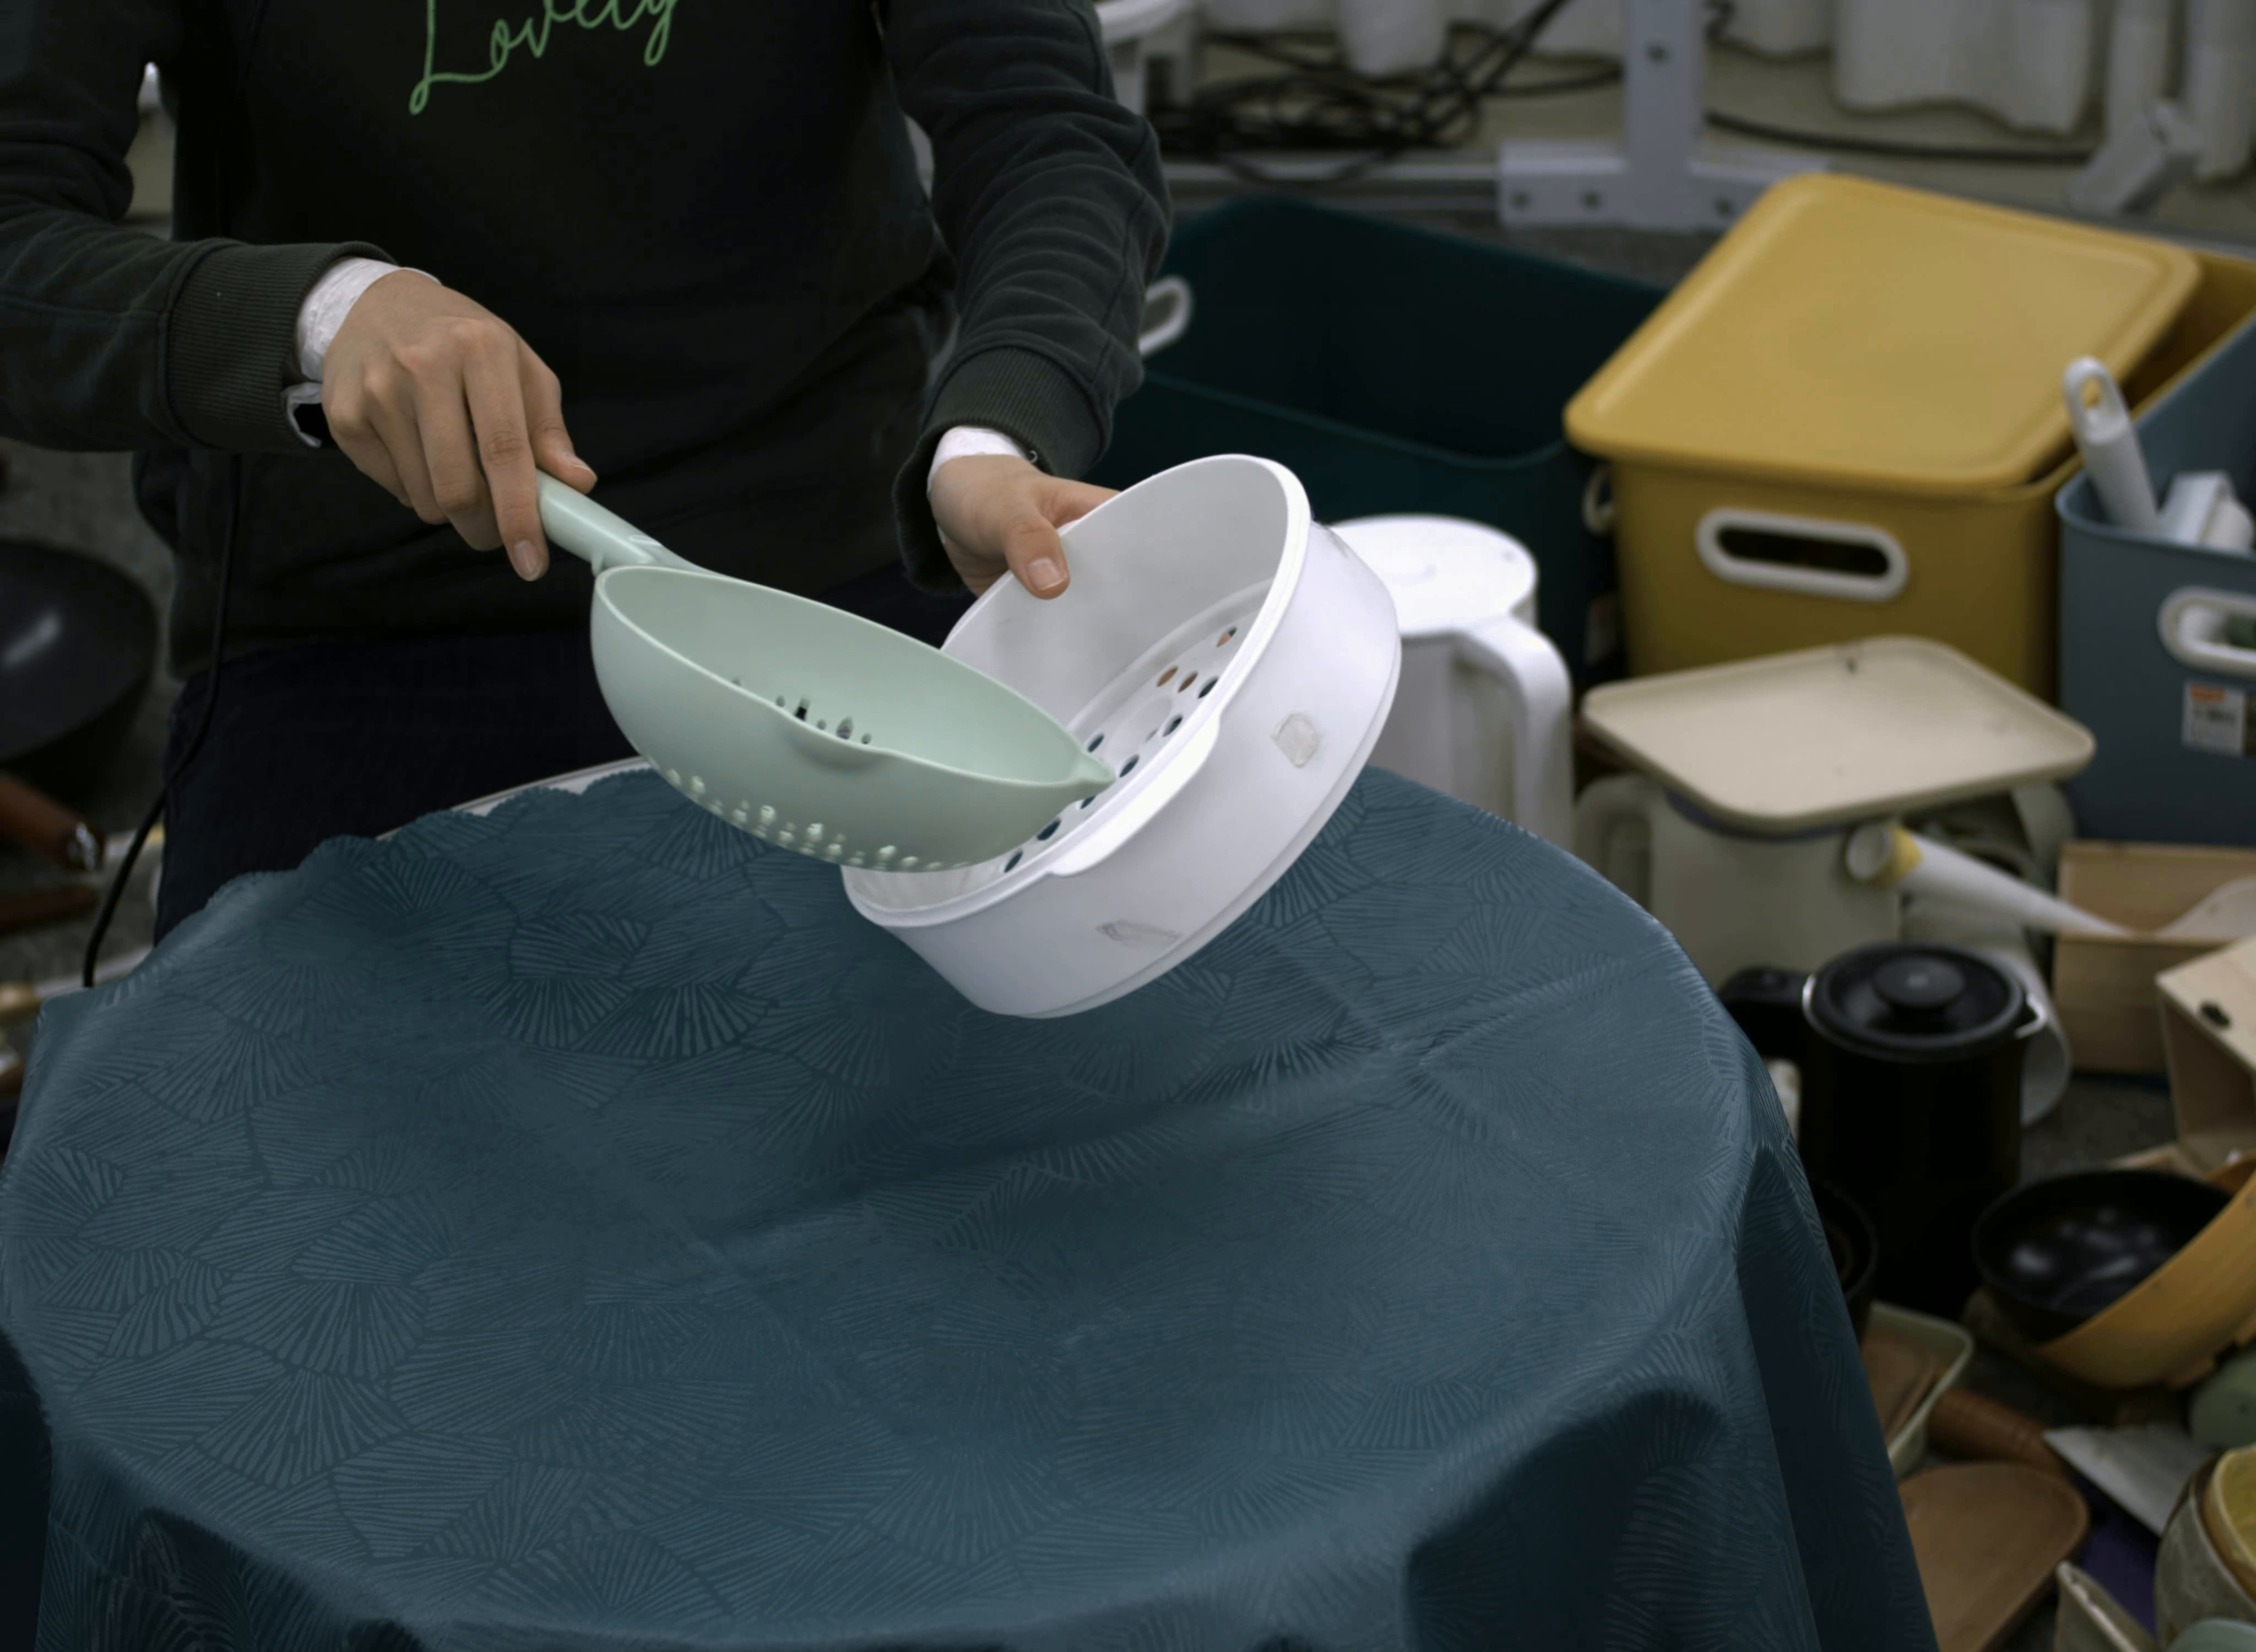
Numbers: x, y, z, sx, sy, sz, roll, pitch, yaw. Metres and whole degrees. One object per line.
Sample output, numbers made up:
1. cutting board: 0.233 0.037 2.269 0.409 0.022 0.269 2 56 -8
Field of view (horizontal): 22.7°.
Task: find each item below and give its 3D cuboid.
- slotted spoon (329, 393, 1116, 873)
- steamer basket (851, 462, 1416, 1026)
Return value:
1. slotted spoon: -0.158 -0.078 1.867 0.169 0.075 0.361 10 25 -47
2. steamer basket: 0.004 -0.025 1.835 0.201 0.069 0.232 -42 24 3
